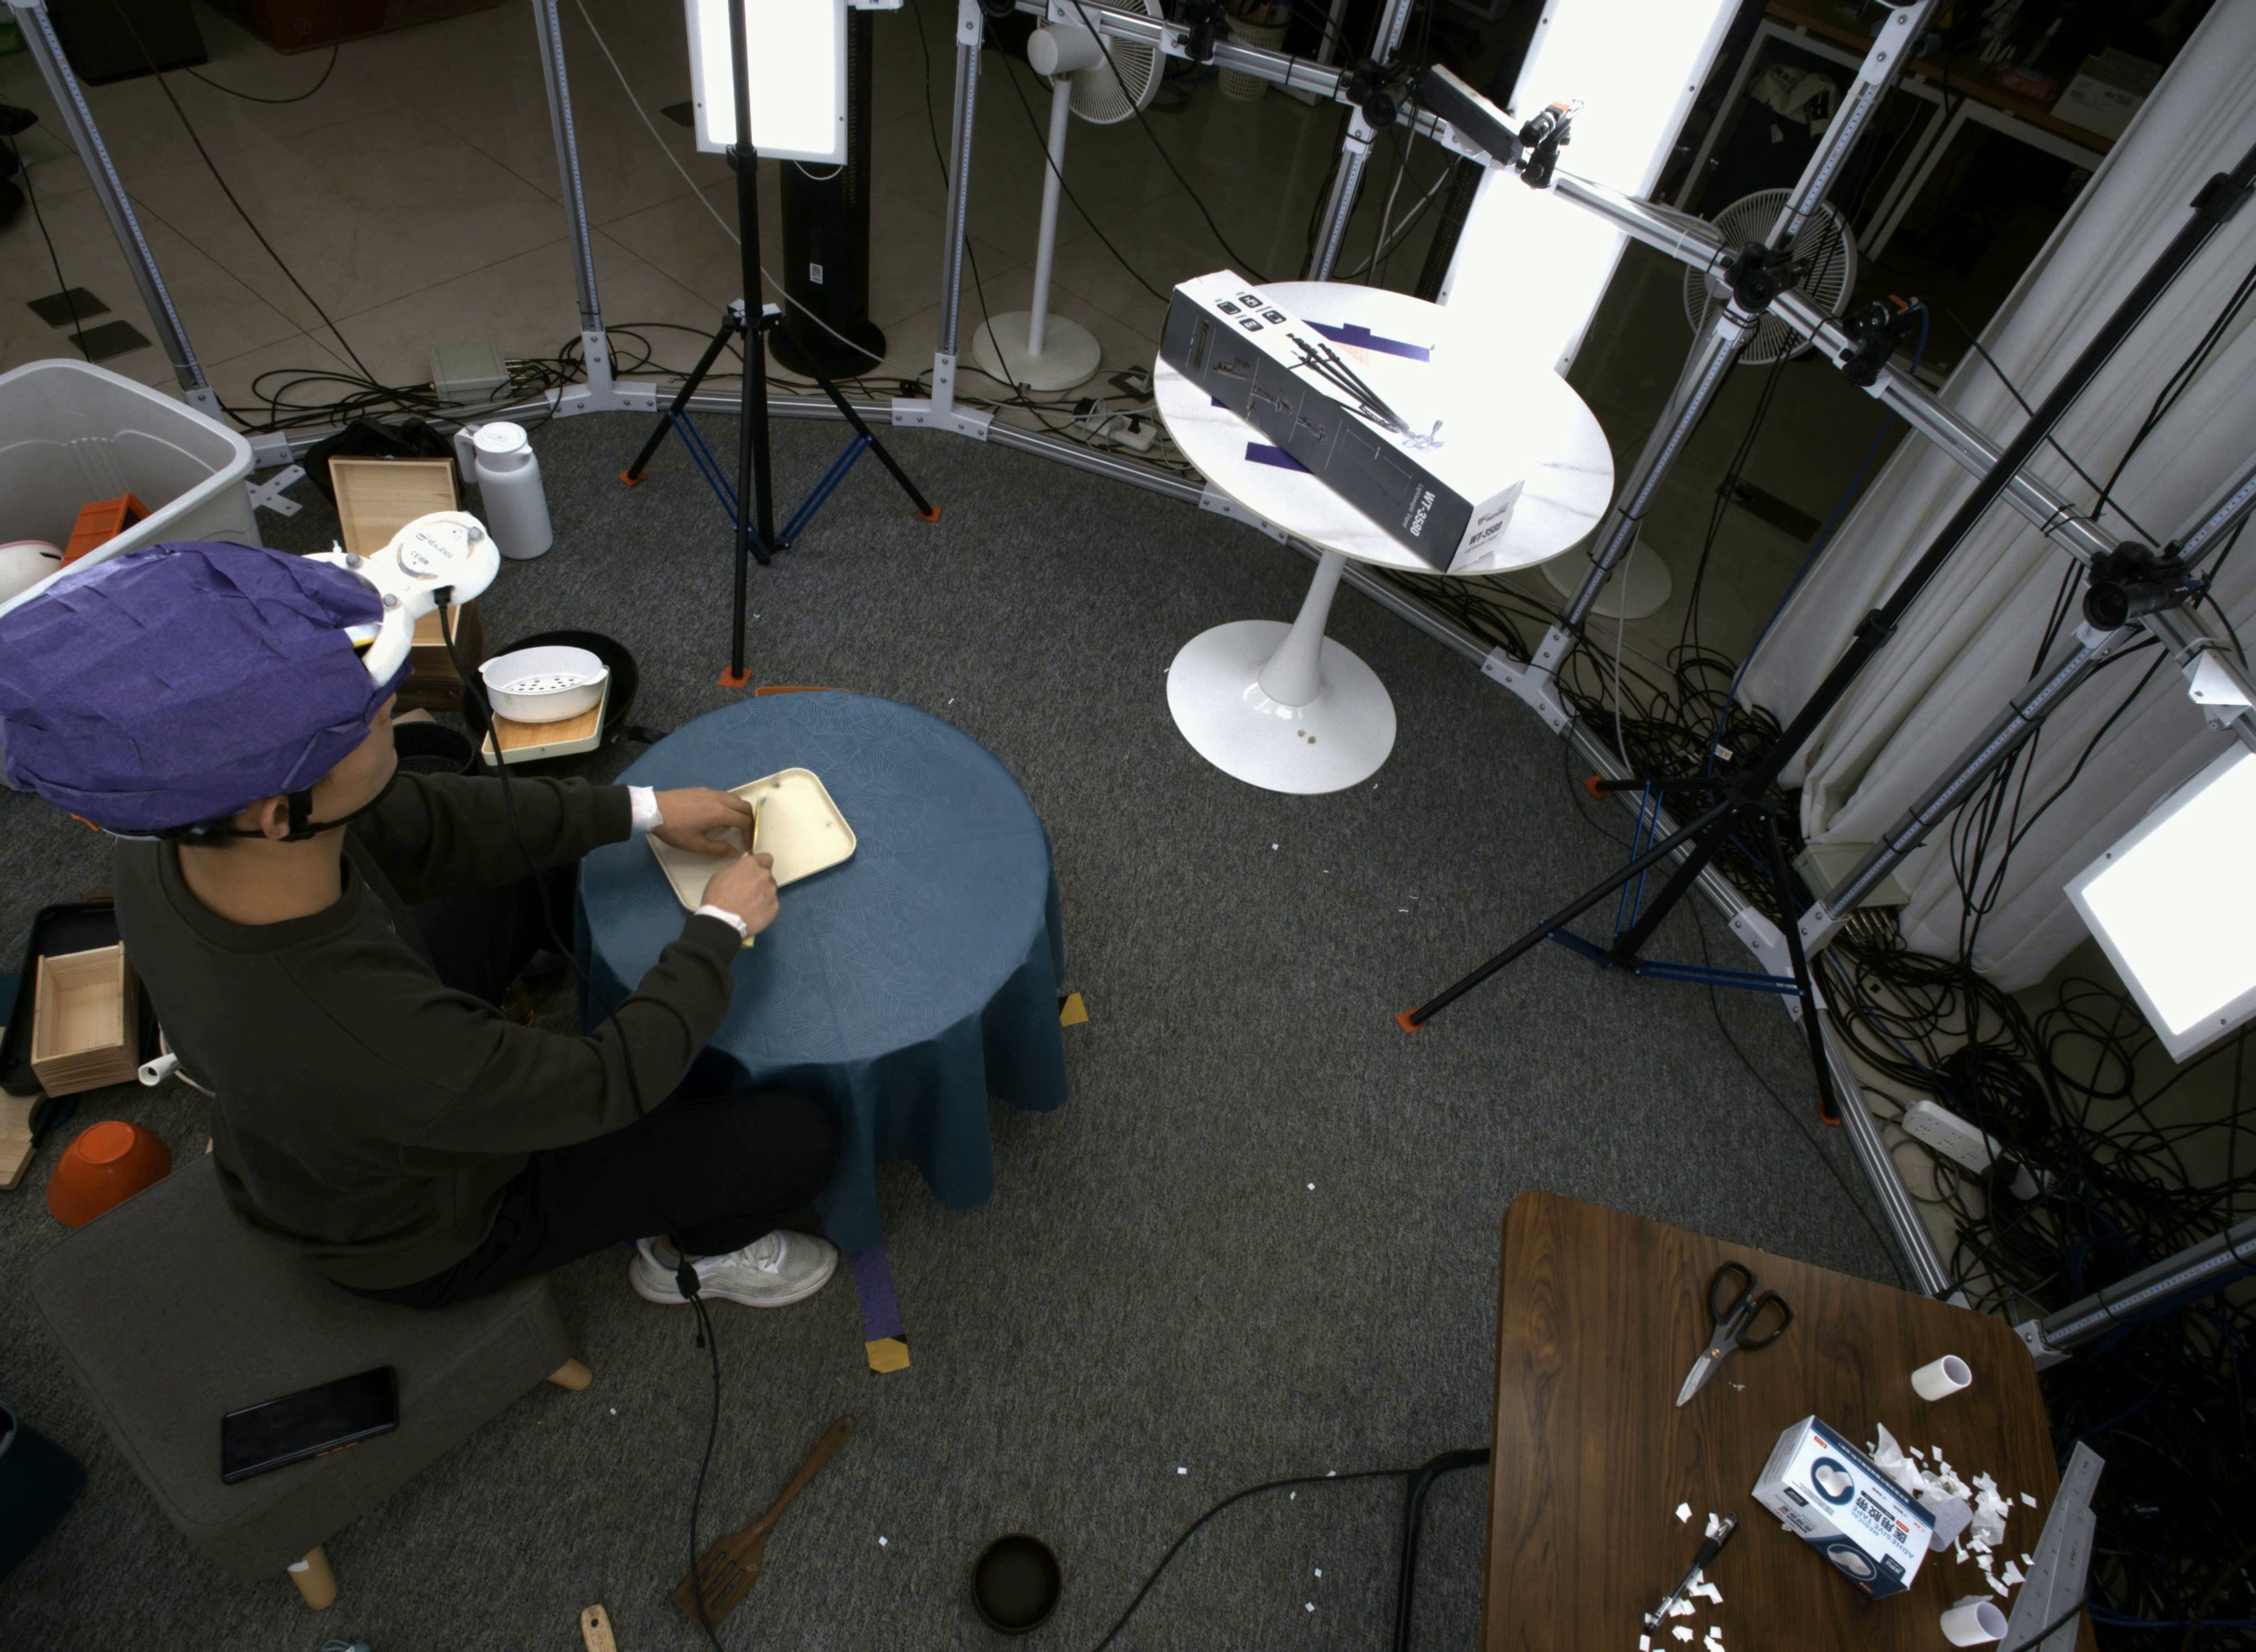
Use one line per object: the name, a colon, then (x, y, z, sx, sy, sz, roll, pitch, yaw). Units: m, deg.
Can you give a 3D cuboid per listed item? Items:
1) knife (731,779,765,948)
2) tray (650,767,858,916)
knife: (-0.473, 0.045, 1.627, 0.027, 0.083, 0.282, 6, 44, -14)
tray: (-0.489, 0.017, 1.694, 0.241, 0.018, 0.167, -24, 63, -28)
